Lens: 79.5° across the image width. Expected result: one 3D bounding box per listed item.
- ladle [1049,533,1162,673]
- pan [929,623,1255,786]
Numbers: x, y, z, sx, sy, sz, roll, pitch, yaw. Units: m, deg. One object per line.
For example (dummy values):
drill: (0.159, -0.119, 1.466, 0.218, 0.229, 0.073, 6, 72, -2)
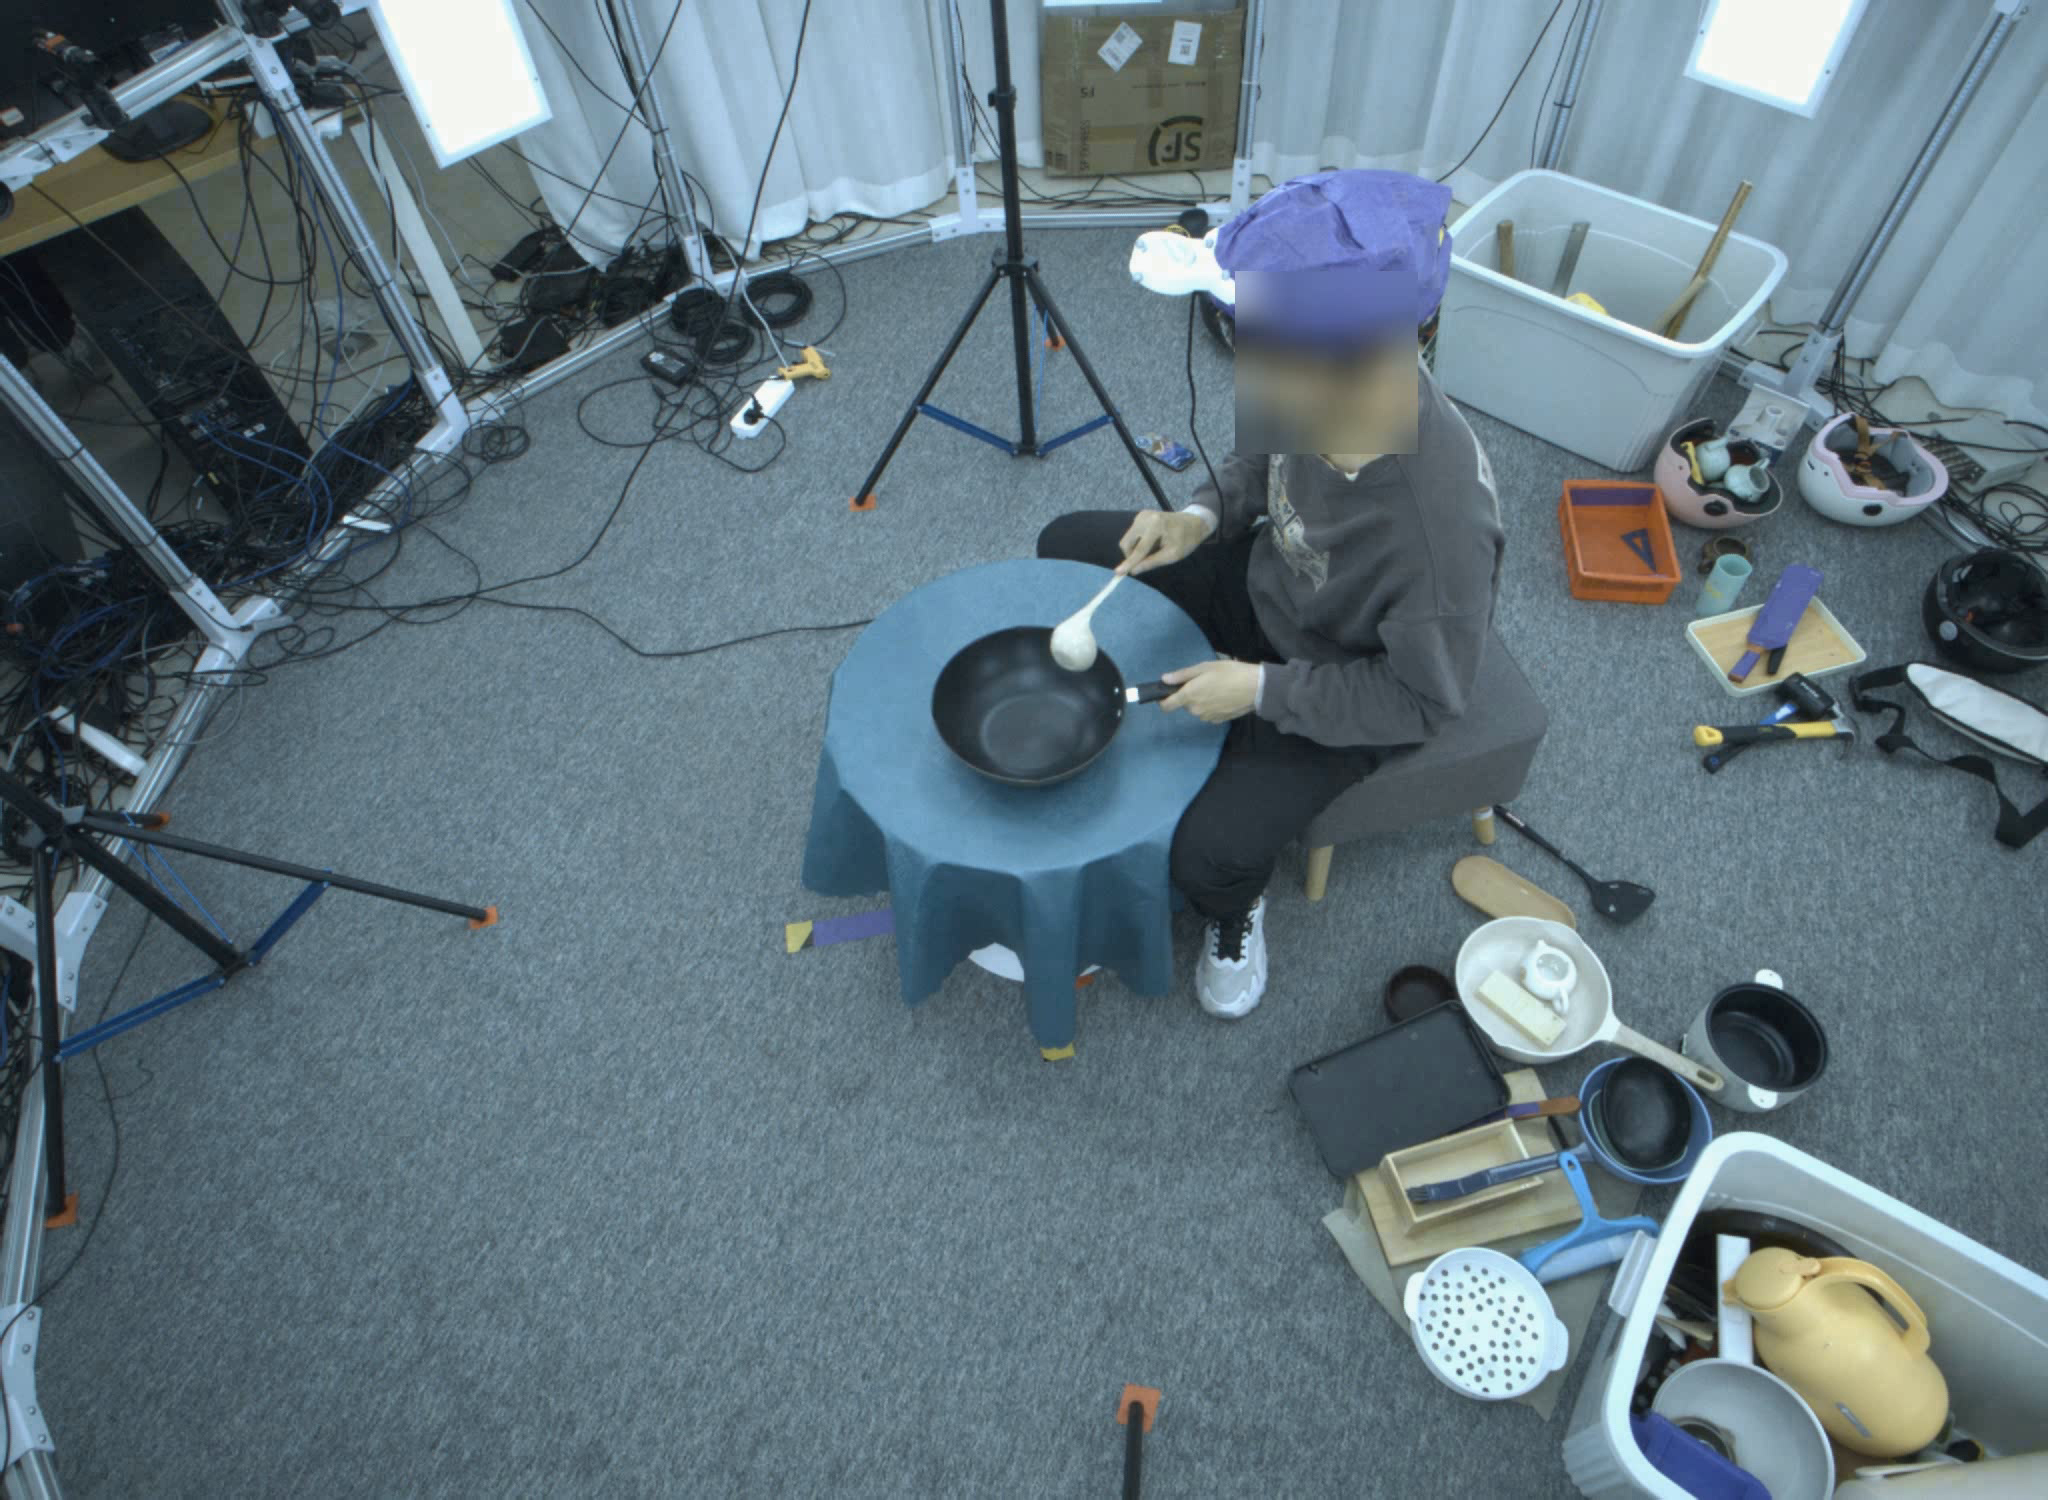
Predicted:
ladle: (0.128, -0.212, 1.779, 0.070, 0.074, 0.256, 26, 59, 30)
pan: (0.098, -0.060, 1.773, 0.464, 0.088, 0.284, -4, 54, -3)
